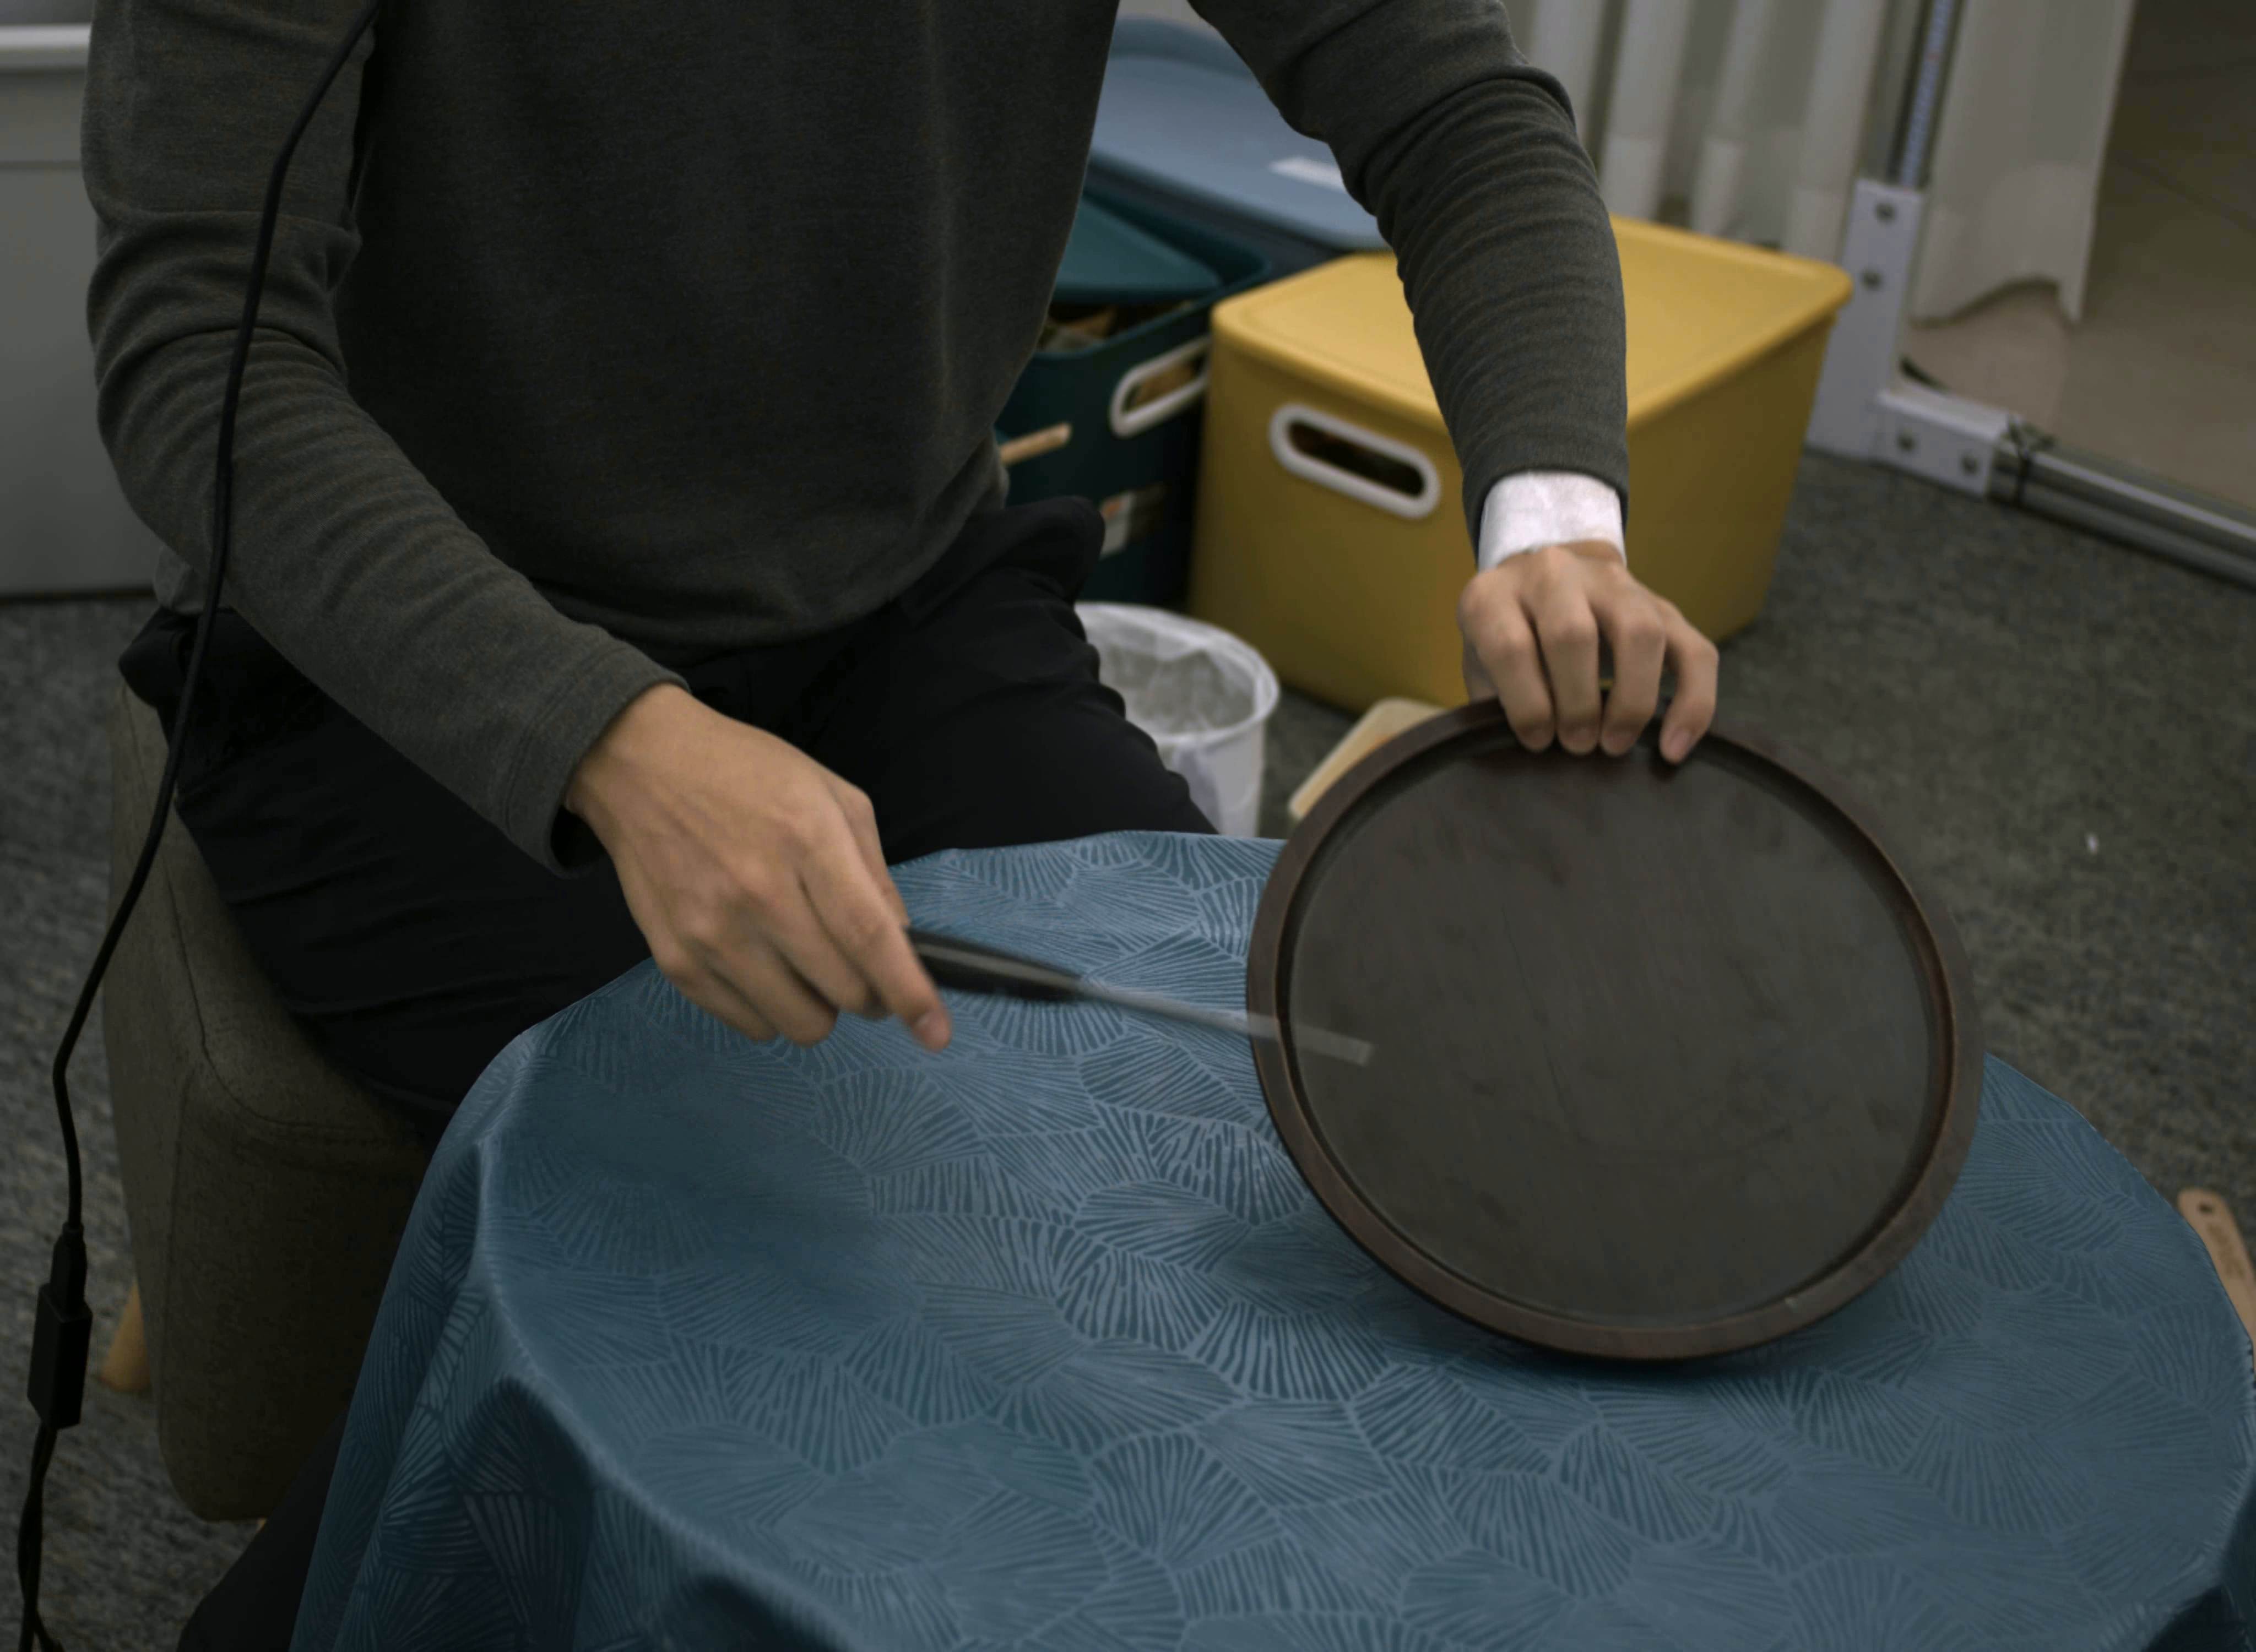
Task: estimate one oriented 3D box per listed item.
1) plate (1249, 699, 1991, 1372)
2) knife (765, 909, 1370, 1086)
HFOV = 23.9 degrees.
[{"bbox_3d":[0.165,0.069,1.792,0.254,0.029,0.257,3,61,-6],"label":"plate"},{"bbox_3d":[-0.024,0.056,1.712,0.239,0.016,0.024,13,-11,33],"label":"knife"}]
